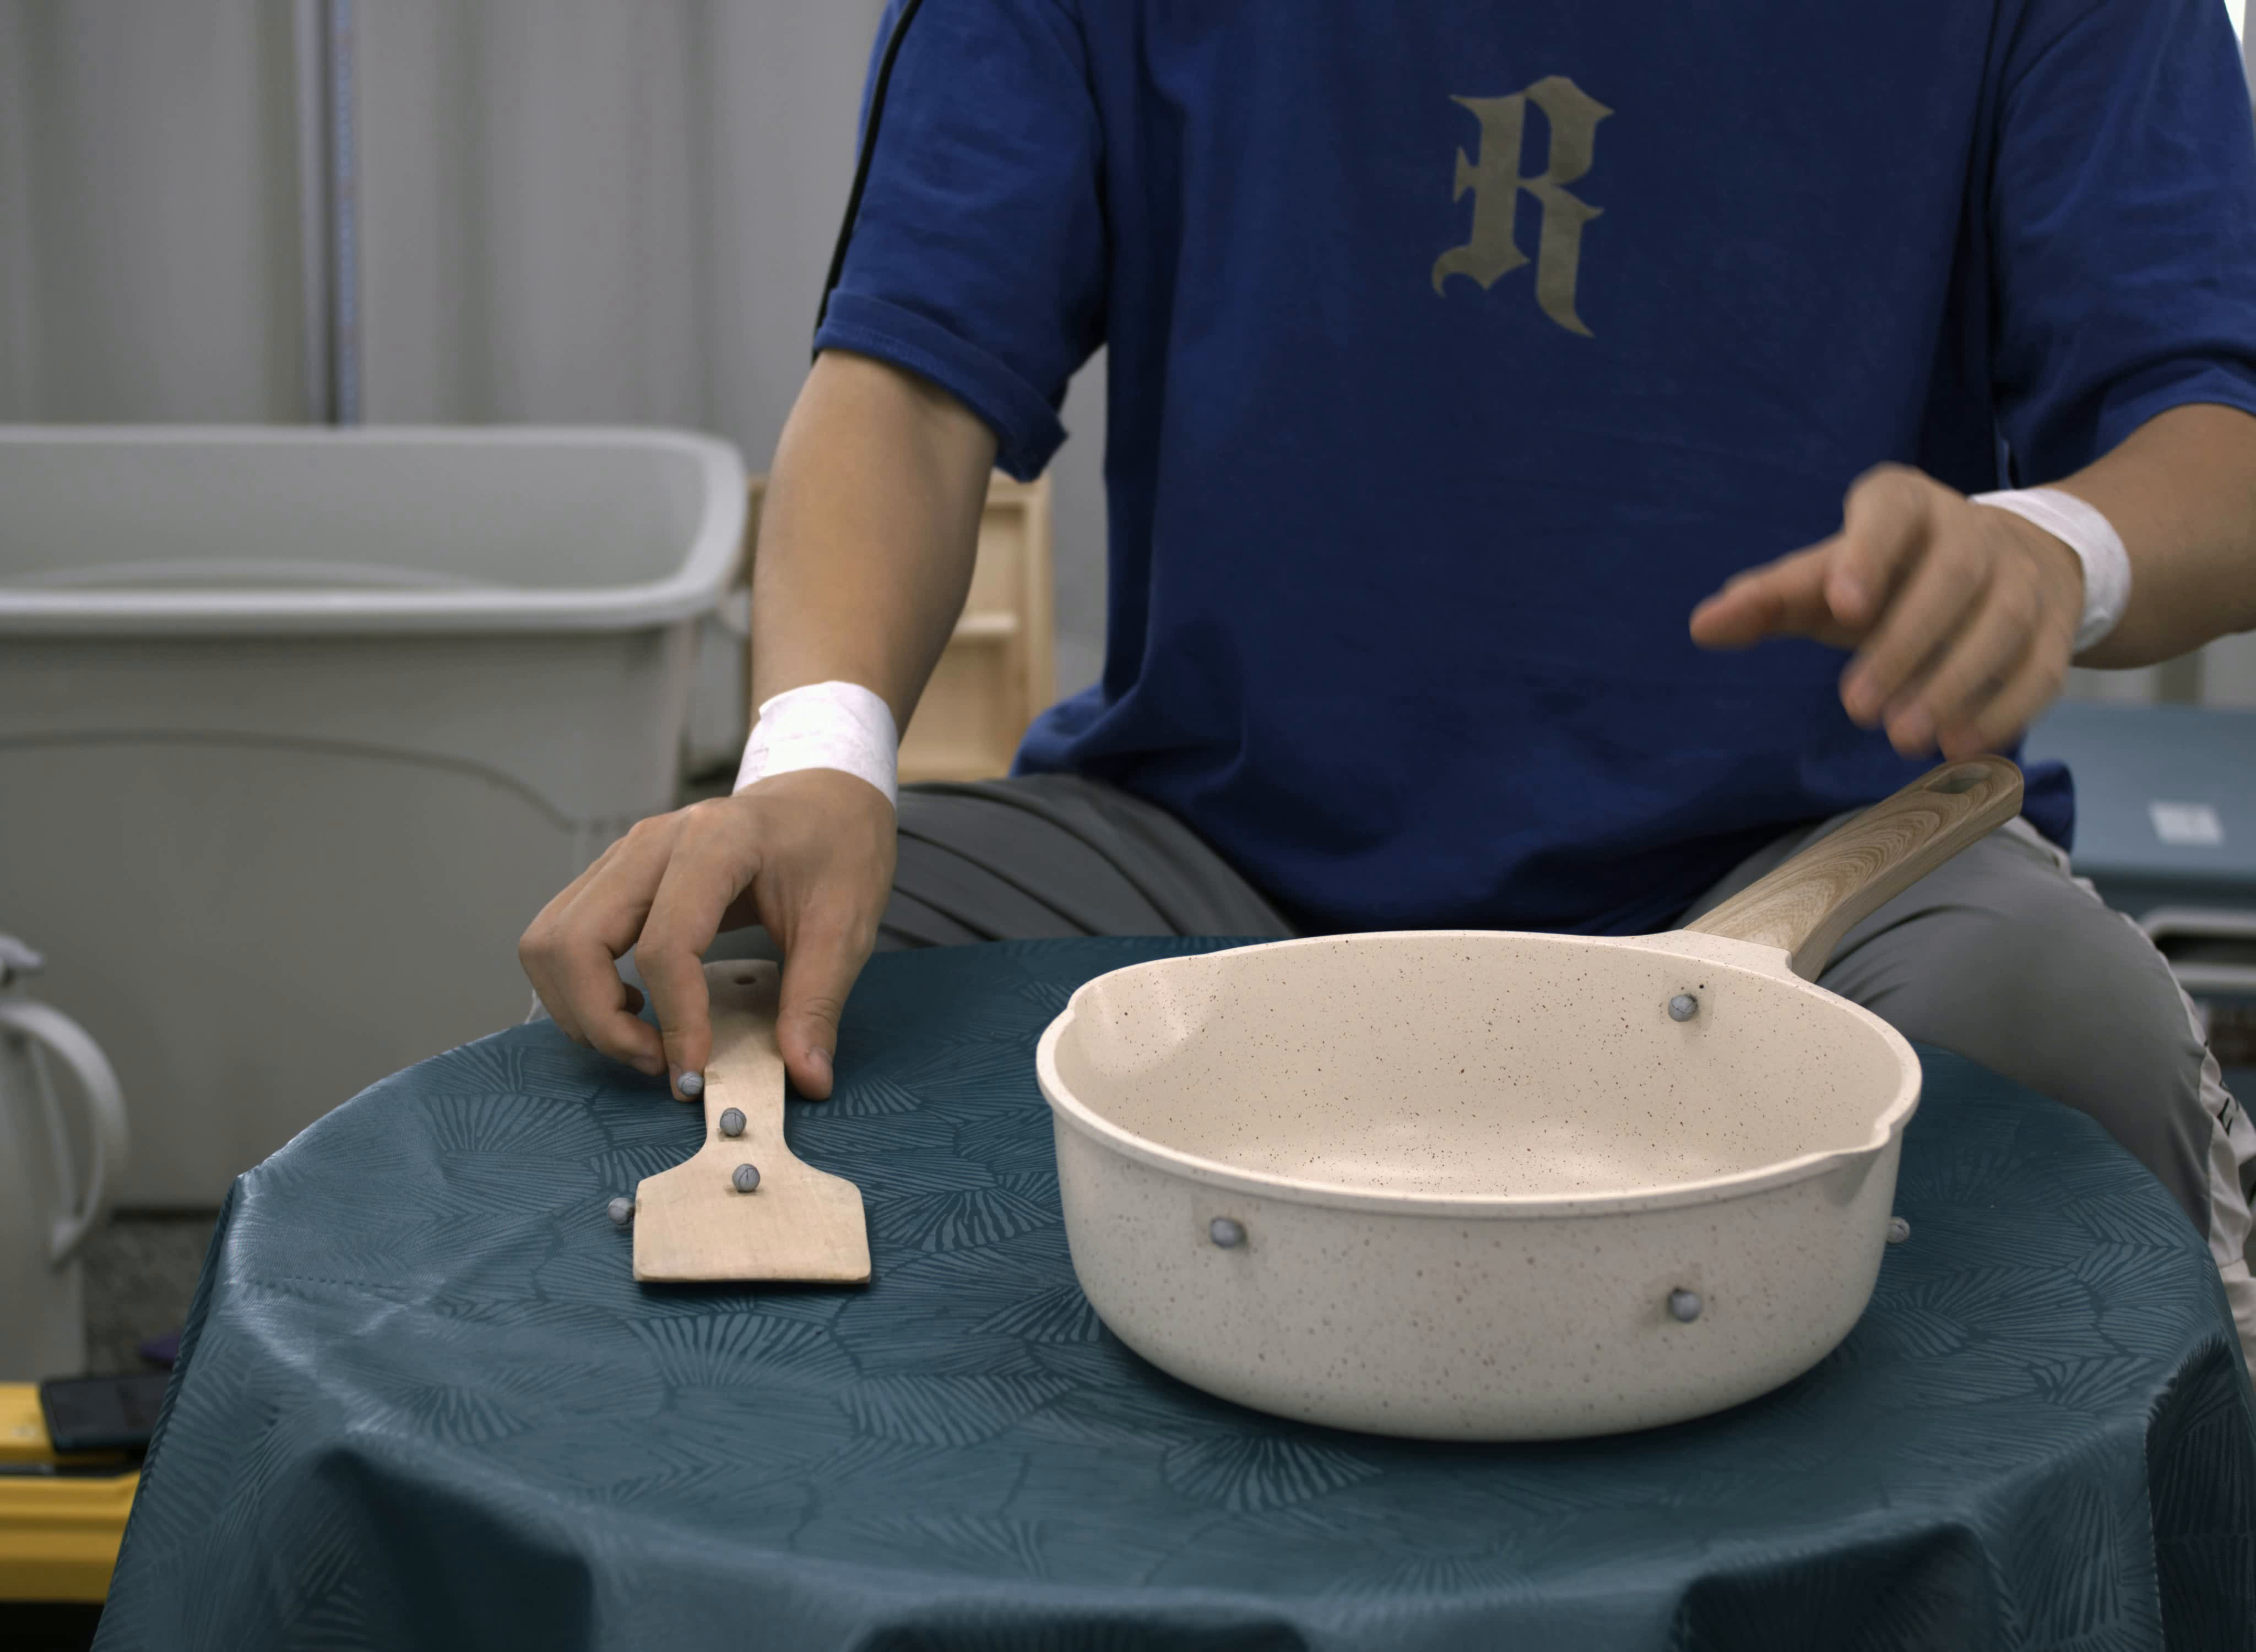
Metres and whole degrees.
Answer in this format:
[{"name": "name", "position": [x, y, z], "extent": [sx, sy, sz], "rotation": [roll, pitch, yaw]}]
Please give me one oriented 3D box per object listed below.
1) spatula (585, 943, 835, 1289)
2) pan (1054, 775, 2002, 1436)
[{"name": "spatula", "position": [-0.125, 0.089, 1.669], "extent": [0.072, 0.011, 0.291], "rotation": [0, 19, -1]}, {"name": "pan", "position": [0.157, 0.077, 1.571], "extent": [0.260, 0.103, 0.436], "rotation": [9, 17, 34]}]
